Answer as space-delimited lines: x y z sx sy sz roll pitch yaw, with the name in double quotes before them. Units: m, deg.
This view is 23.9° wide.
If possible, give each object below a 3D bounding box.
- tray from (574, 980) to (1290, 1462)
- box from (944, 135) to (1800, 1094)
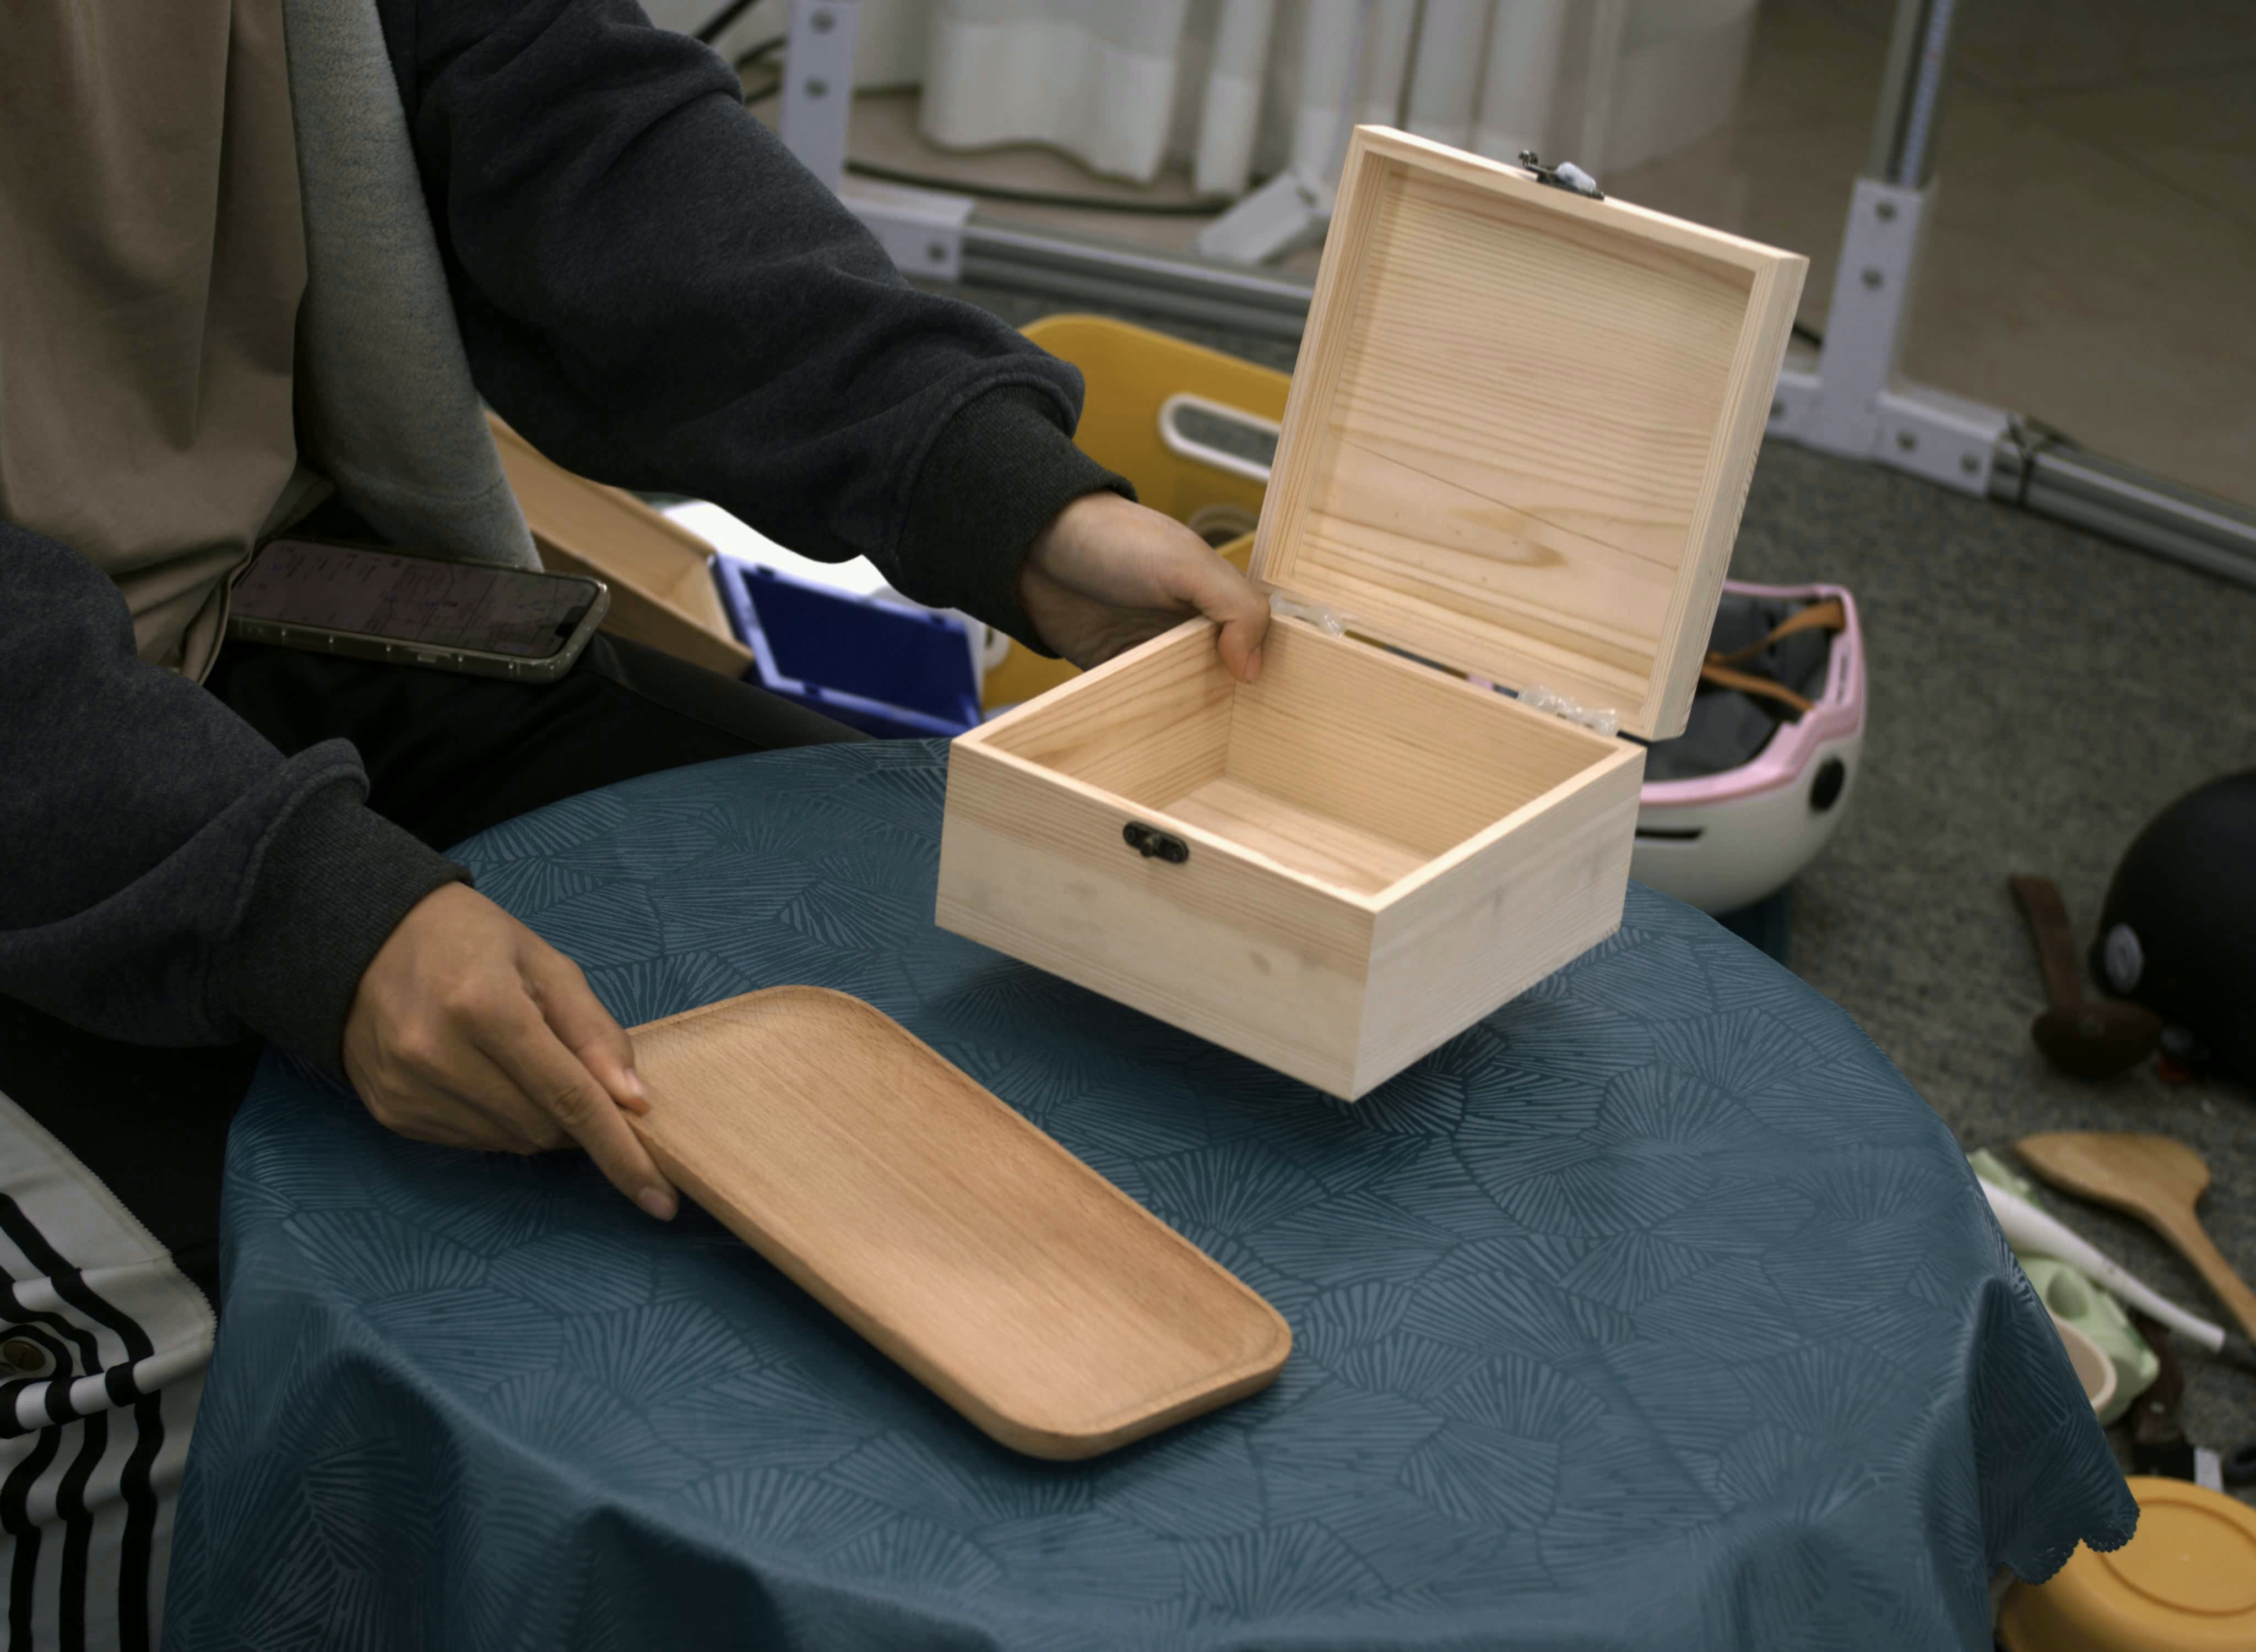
"tray" -0.067 0.126 1.736 0.130 0.023 0.253 -12 36 -43
"box" 0.085 -0.085 1.896 0.183 0.252 0.264 18 27 30
